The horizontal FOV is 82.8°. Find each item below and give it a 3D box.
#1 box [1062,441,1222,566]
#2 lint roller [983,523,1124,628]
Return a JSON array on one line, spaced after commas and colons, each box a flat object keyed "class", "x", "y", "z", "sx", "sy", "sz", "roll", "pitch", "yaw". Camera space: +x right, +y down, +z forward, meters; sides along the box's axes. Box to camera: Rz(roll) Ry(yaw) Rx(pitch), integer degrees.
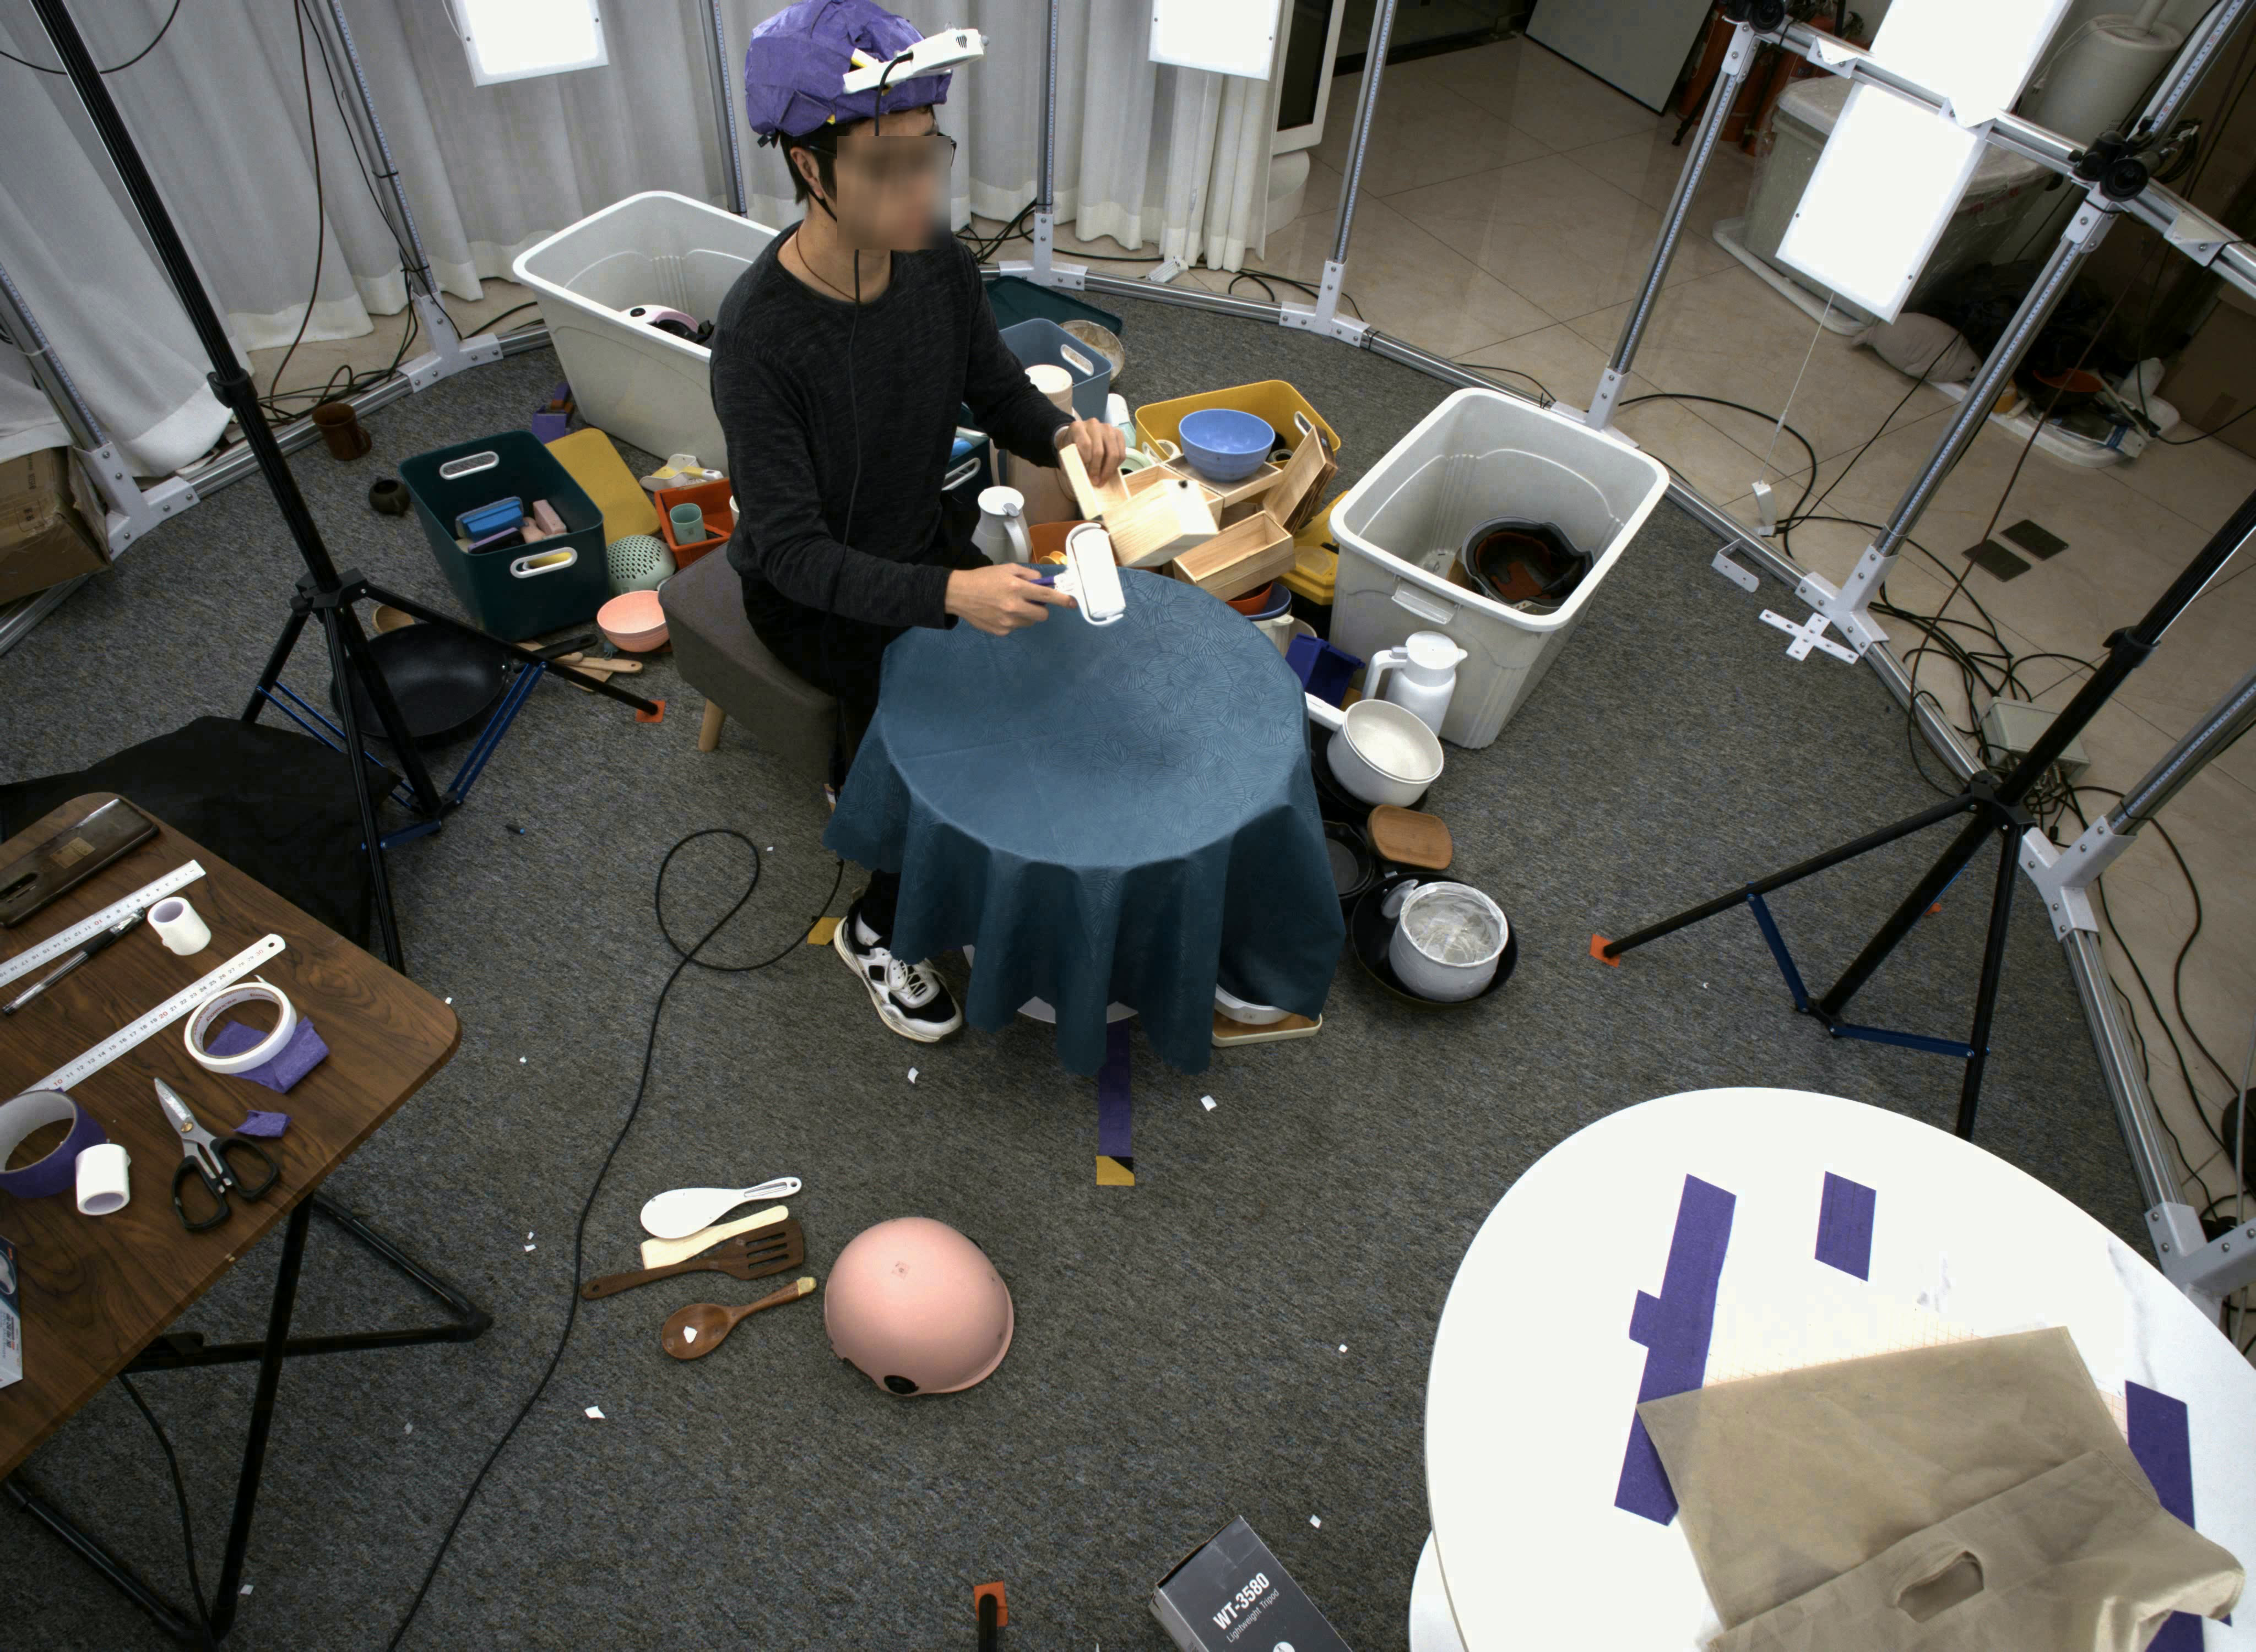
[{"class": "box", "x": 0.020, "y": -0.448, "z": 1.712, "sx": 0.103, "sy": 0.133, "sz": 0.185, "roll": -18, "pitch": 84, "yaw": -58}, {"class": "lint roller", "x": -0.103, "y": -0.305, "z": 1.643, "sx": 0.180, "sy": 0.050, "sz": 0.133, "roll": -13, "pitch": 87, "yaw": 5}]
